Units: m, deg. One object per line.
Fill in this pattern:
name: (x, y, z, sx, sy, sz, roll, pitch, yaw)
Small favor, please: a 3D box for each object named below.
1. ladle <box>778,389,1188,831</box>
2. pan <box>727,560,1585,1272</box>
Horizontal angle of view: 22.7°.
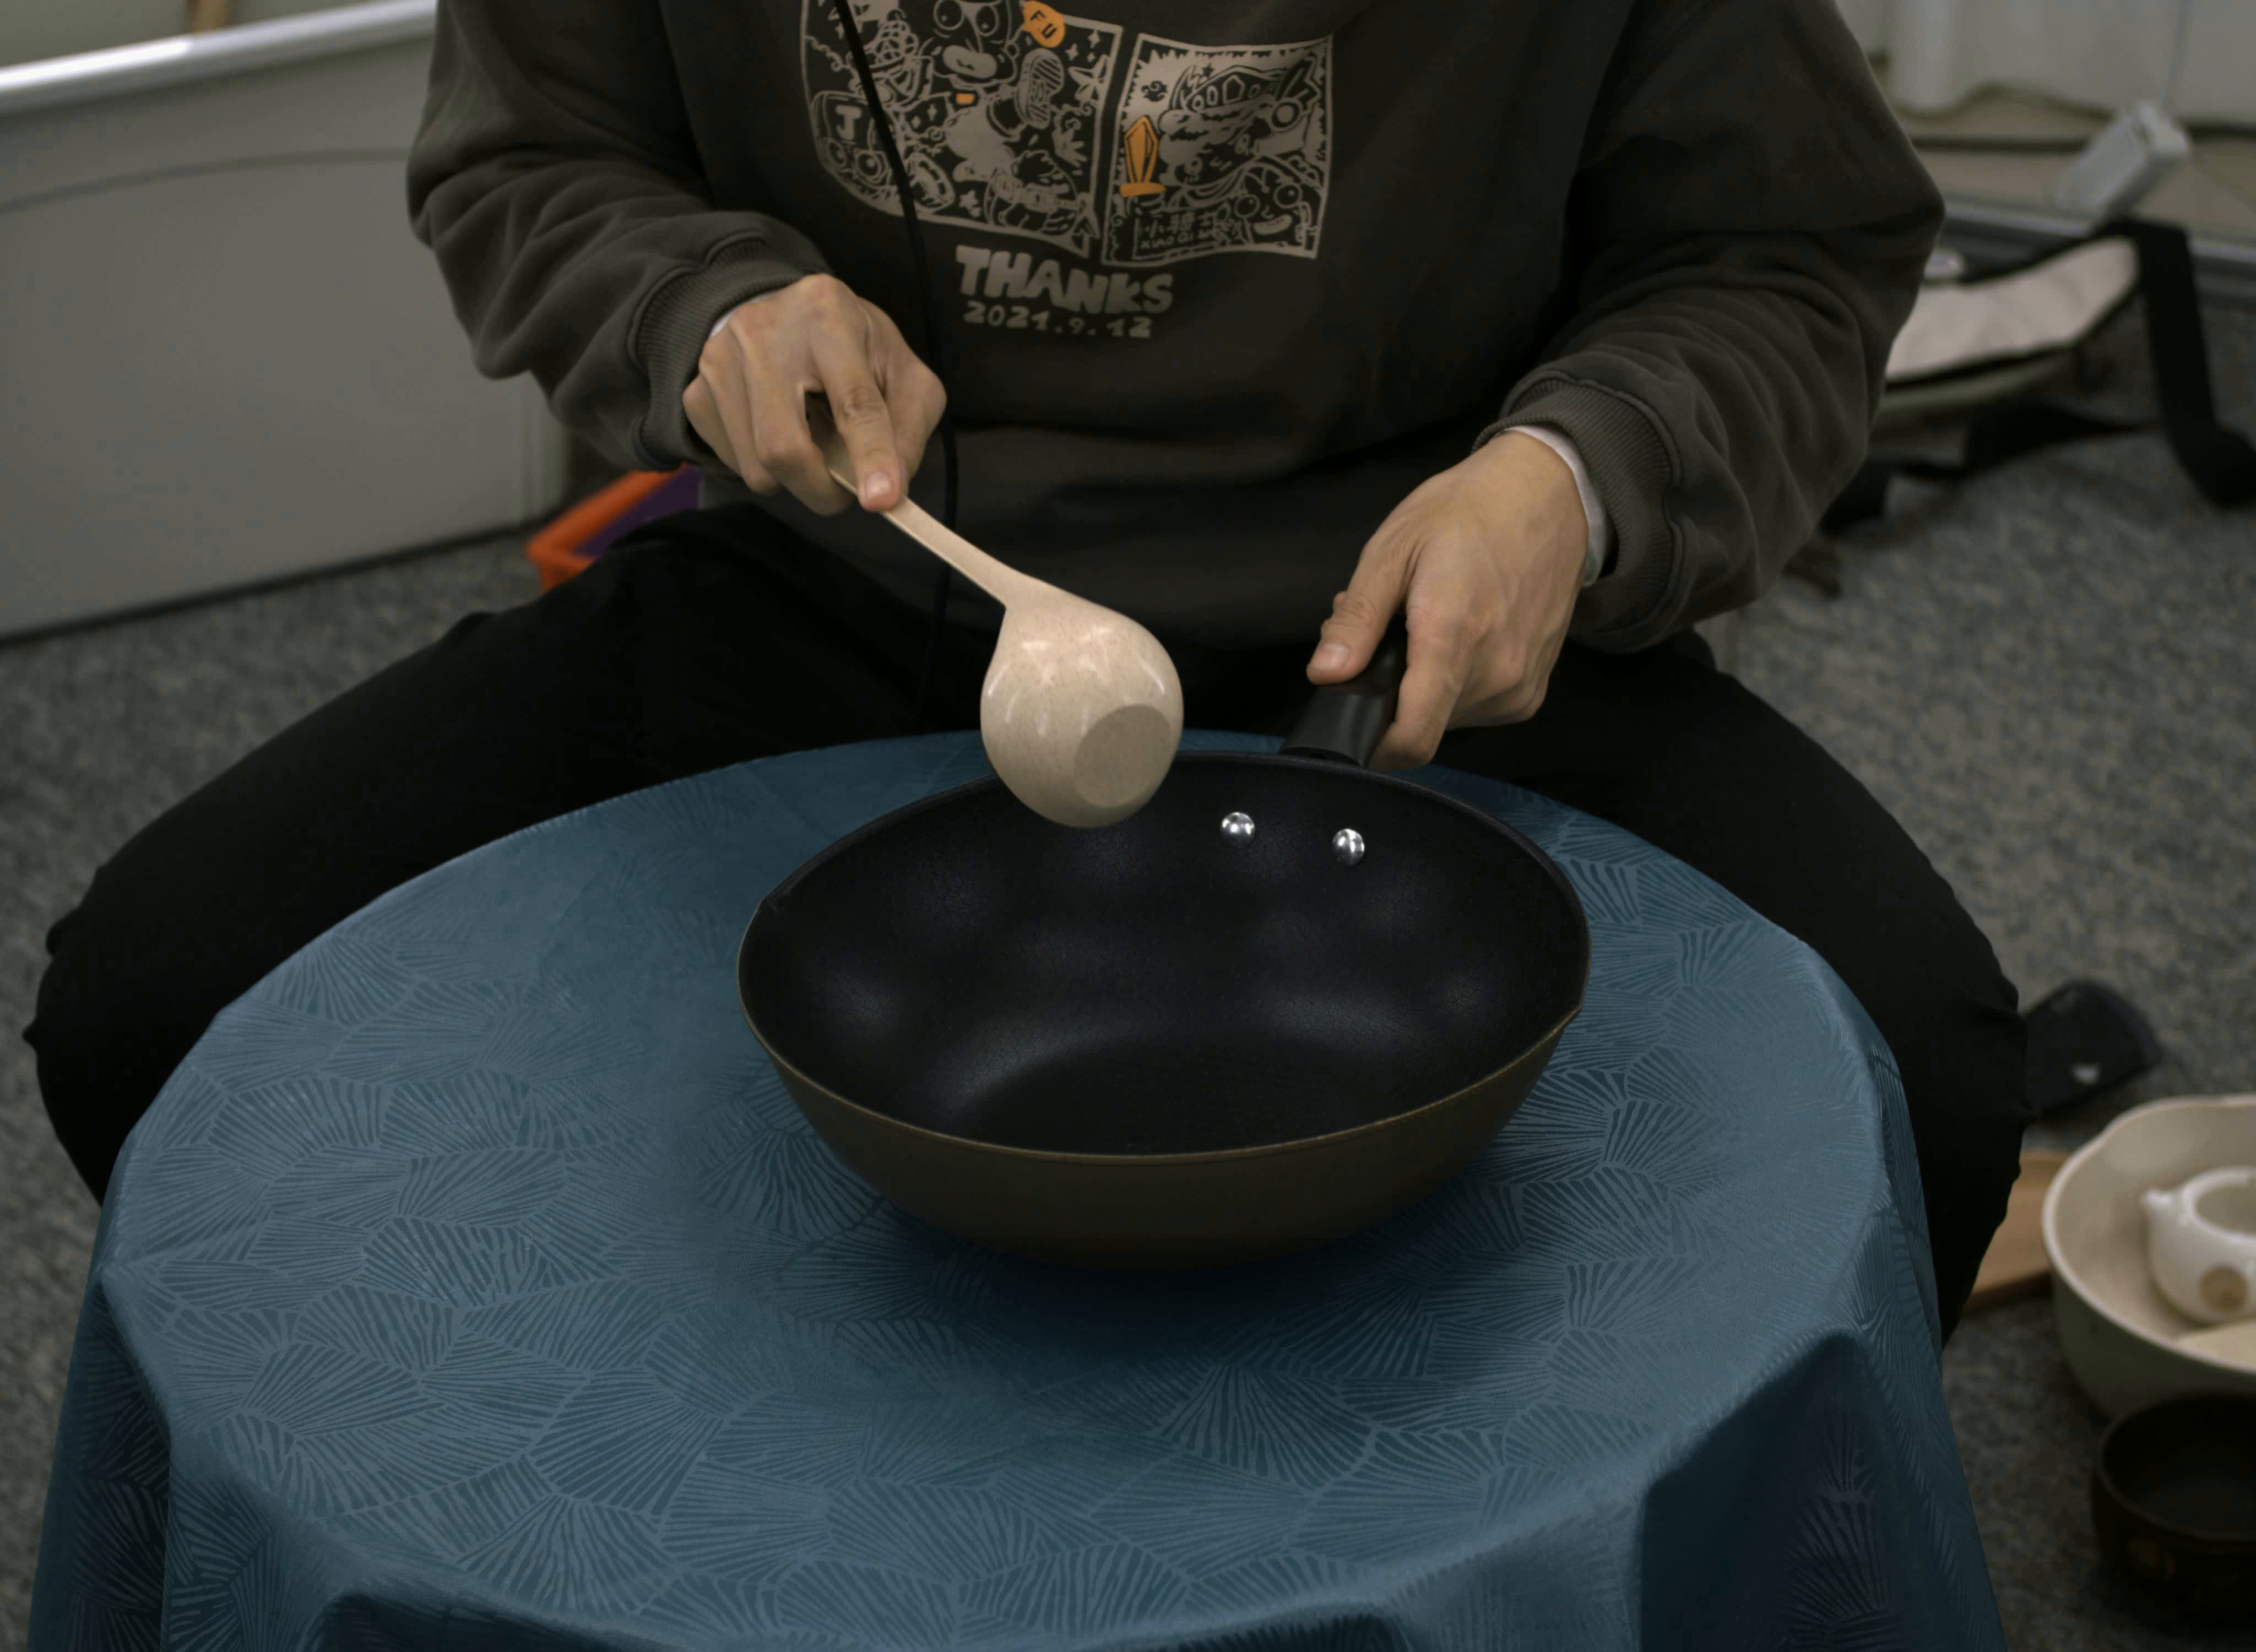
ladle: (-0.060, -0.077, 1.982, 0.072, 0.072, 0.256, -23, 33, -18)
pan: (0.044, 0.032, 1.940, 0.286, 0.086, 0.471, 7, 28, 20)
